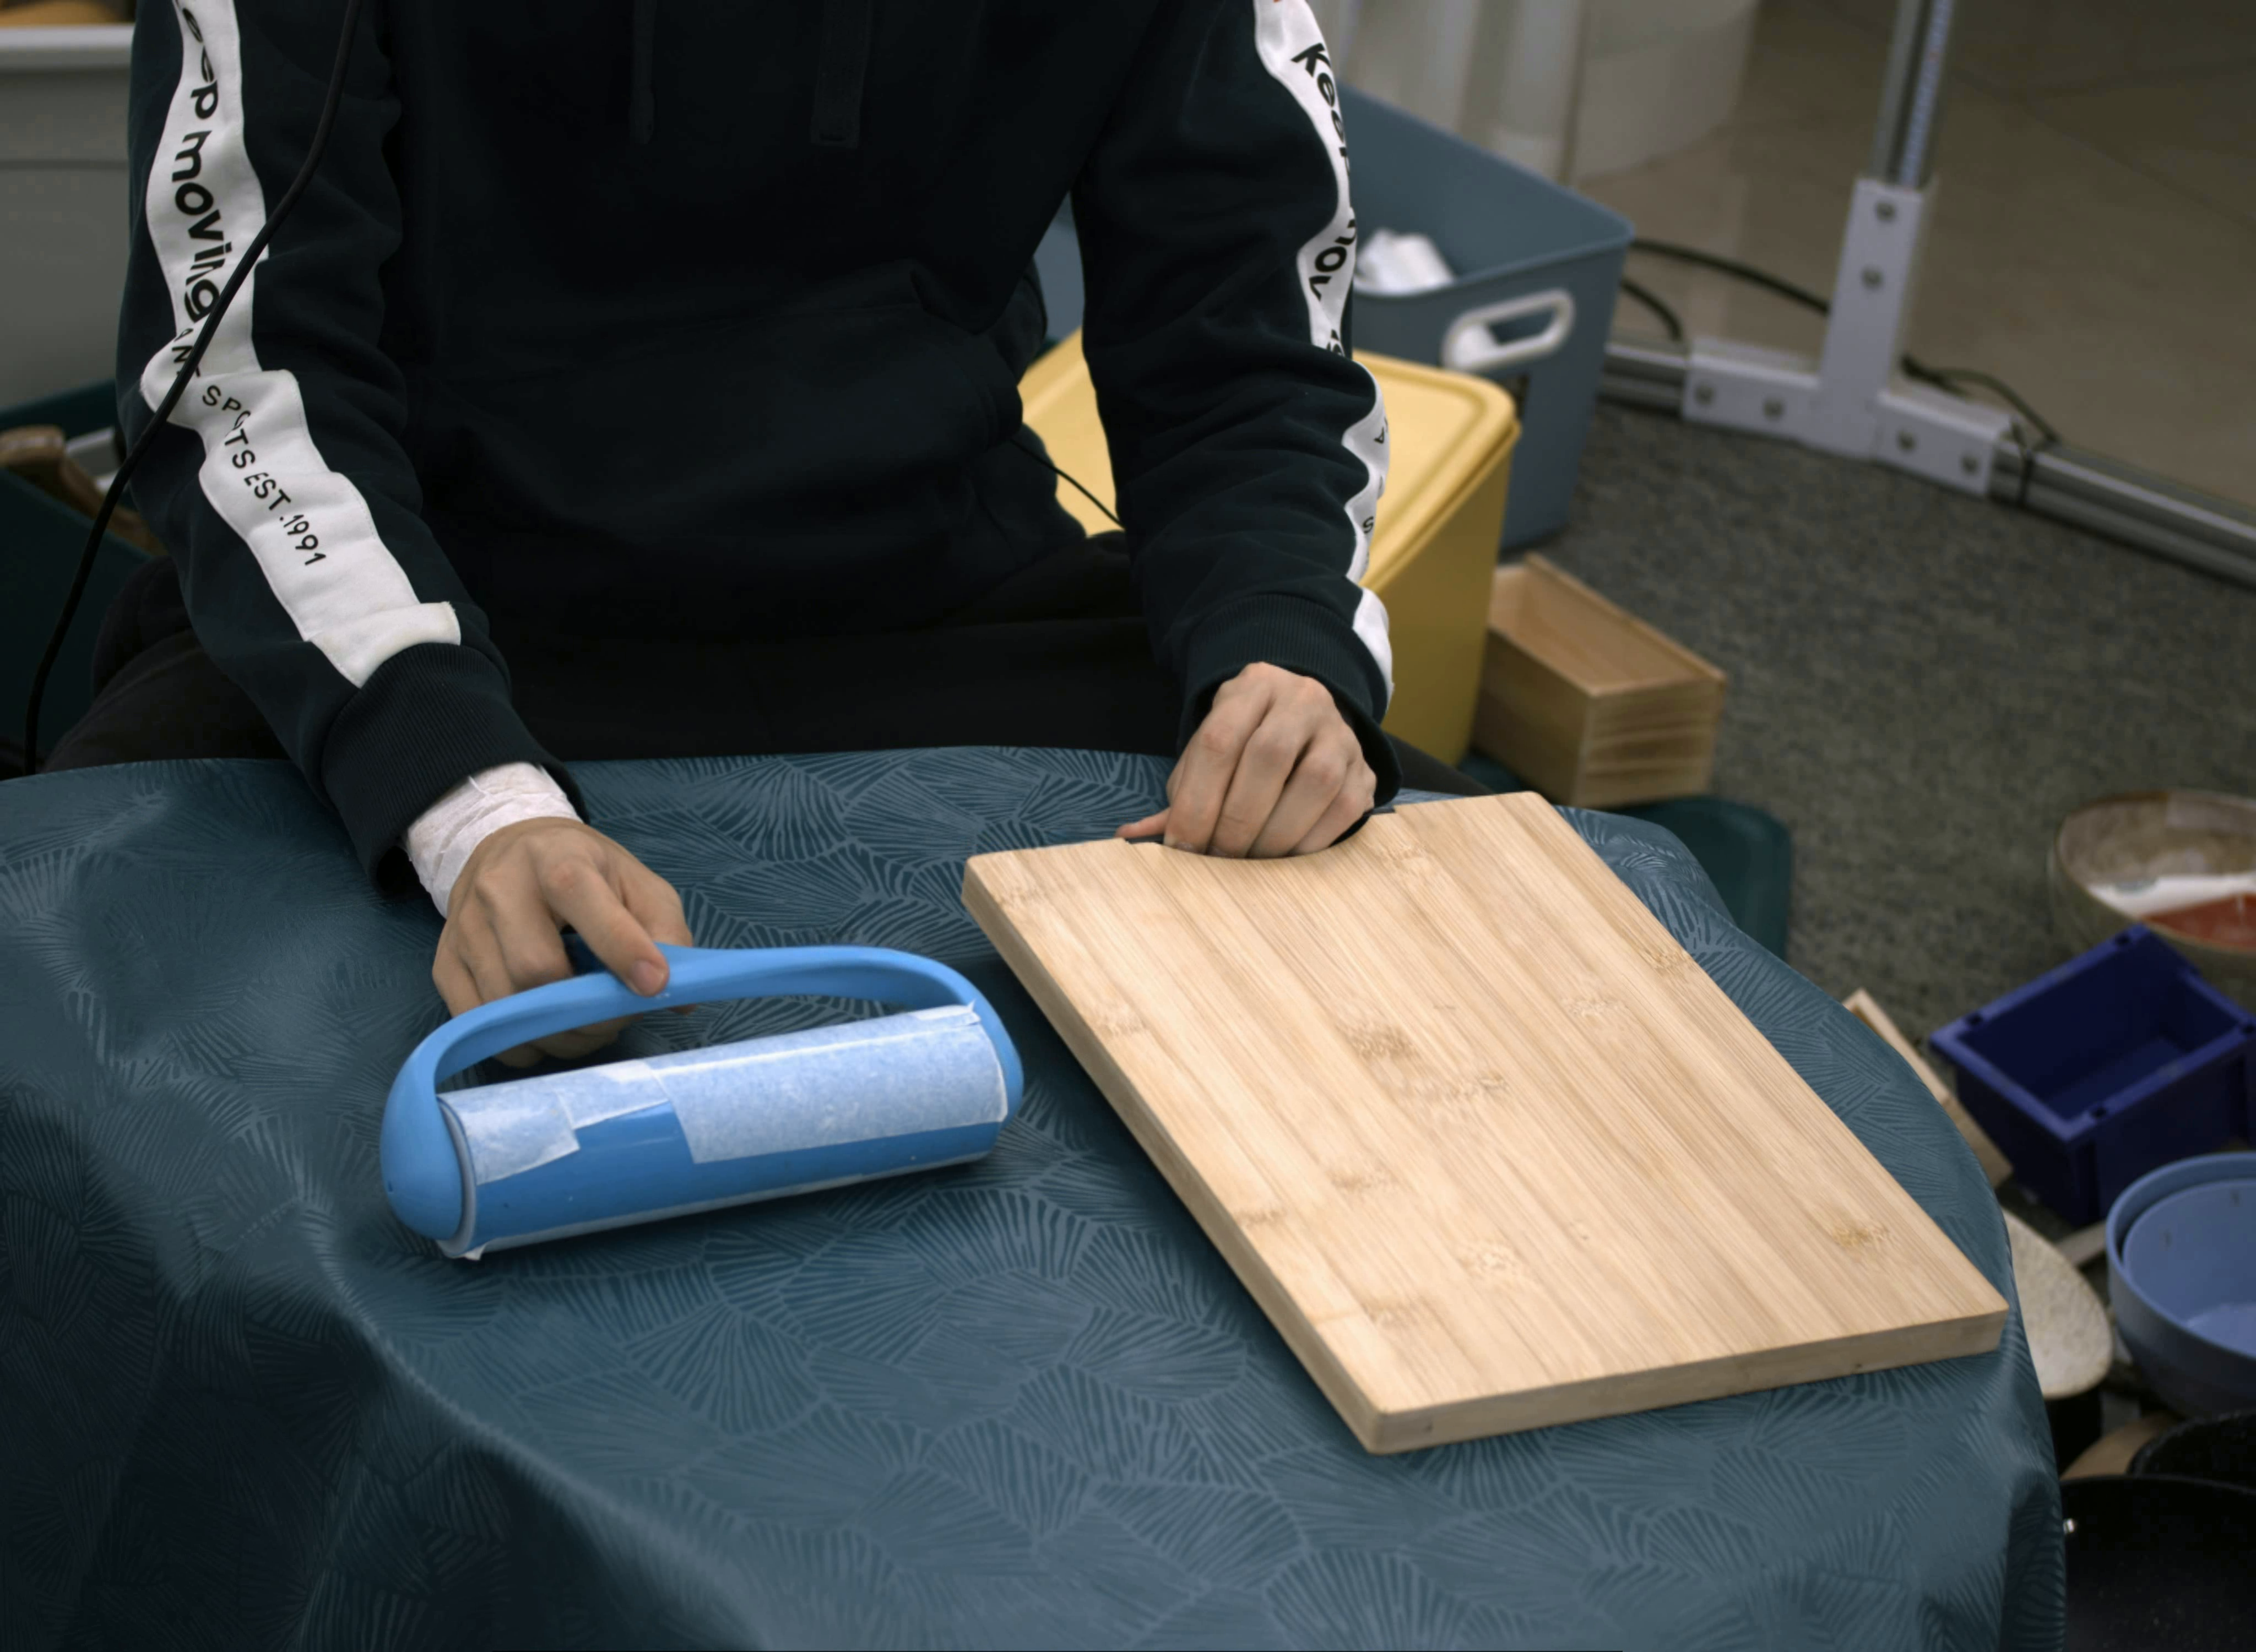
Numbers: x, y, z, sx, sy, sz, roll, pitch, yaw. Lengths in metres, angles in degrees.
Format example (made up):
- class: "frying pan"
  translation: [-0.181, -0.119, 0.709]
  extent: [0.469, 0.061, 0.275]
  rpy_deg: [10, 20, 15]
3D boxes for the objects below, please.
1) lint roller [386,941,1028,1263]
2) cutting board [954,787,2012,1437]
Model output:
- class: "lint roller"
  translation: [-0.166, 0.073, 1.797]
  extent: [0.227, 0.067, 0.182]
  rpy_deg: [-12, 33, -30]
- class: "cutting board"
  translation: [0.114, 0.091, 1.846]
  extent: [0.249, 0.023, 0.352]
  rpy_deg: [-6, 33, -25]
